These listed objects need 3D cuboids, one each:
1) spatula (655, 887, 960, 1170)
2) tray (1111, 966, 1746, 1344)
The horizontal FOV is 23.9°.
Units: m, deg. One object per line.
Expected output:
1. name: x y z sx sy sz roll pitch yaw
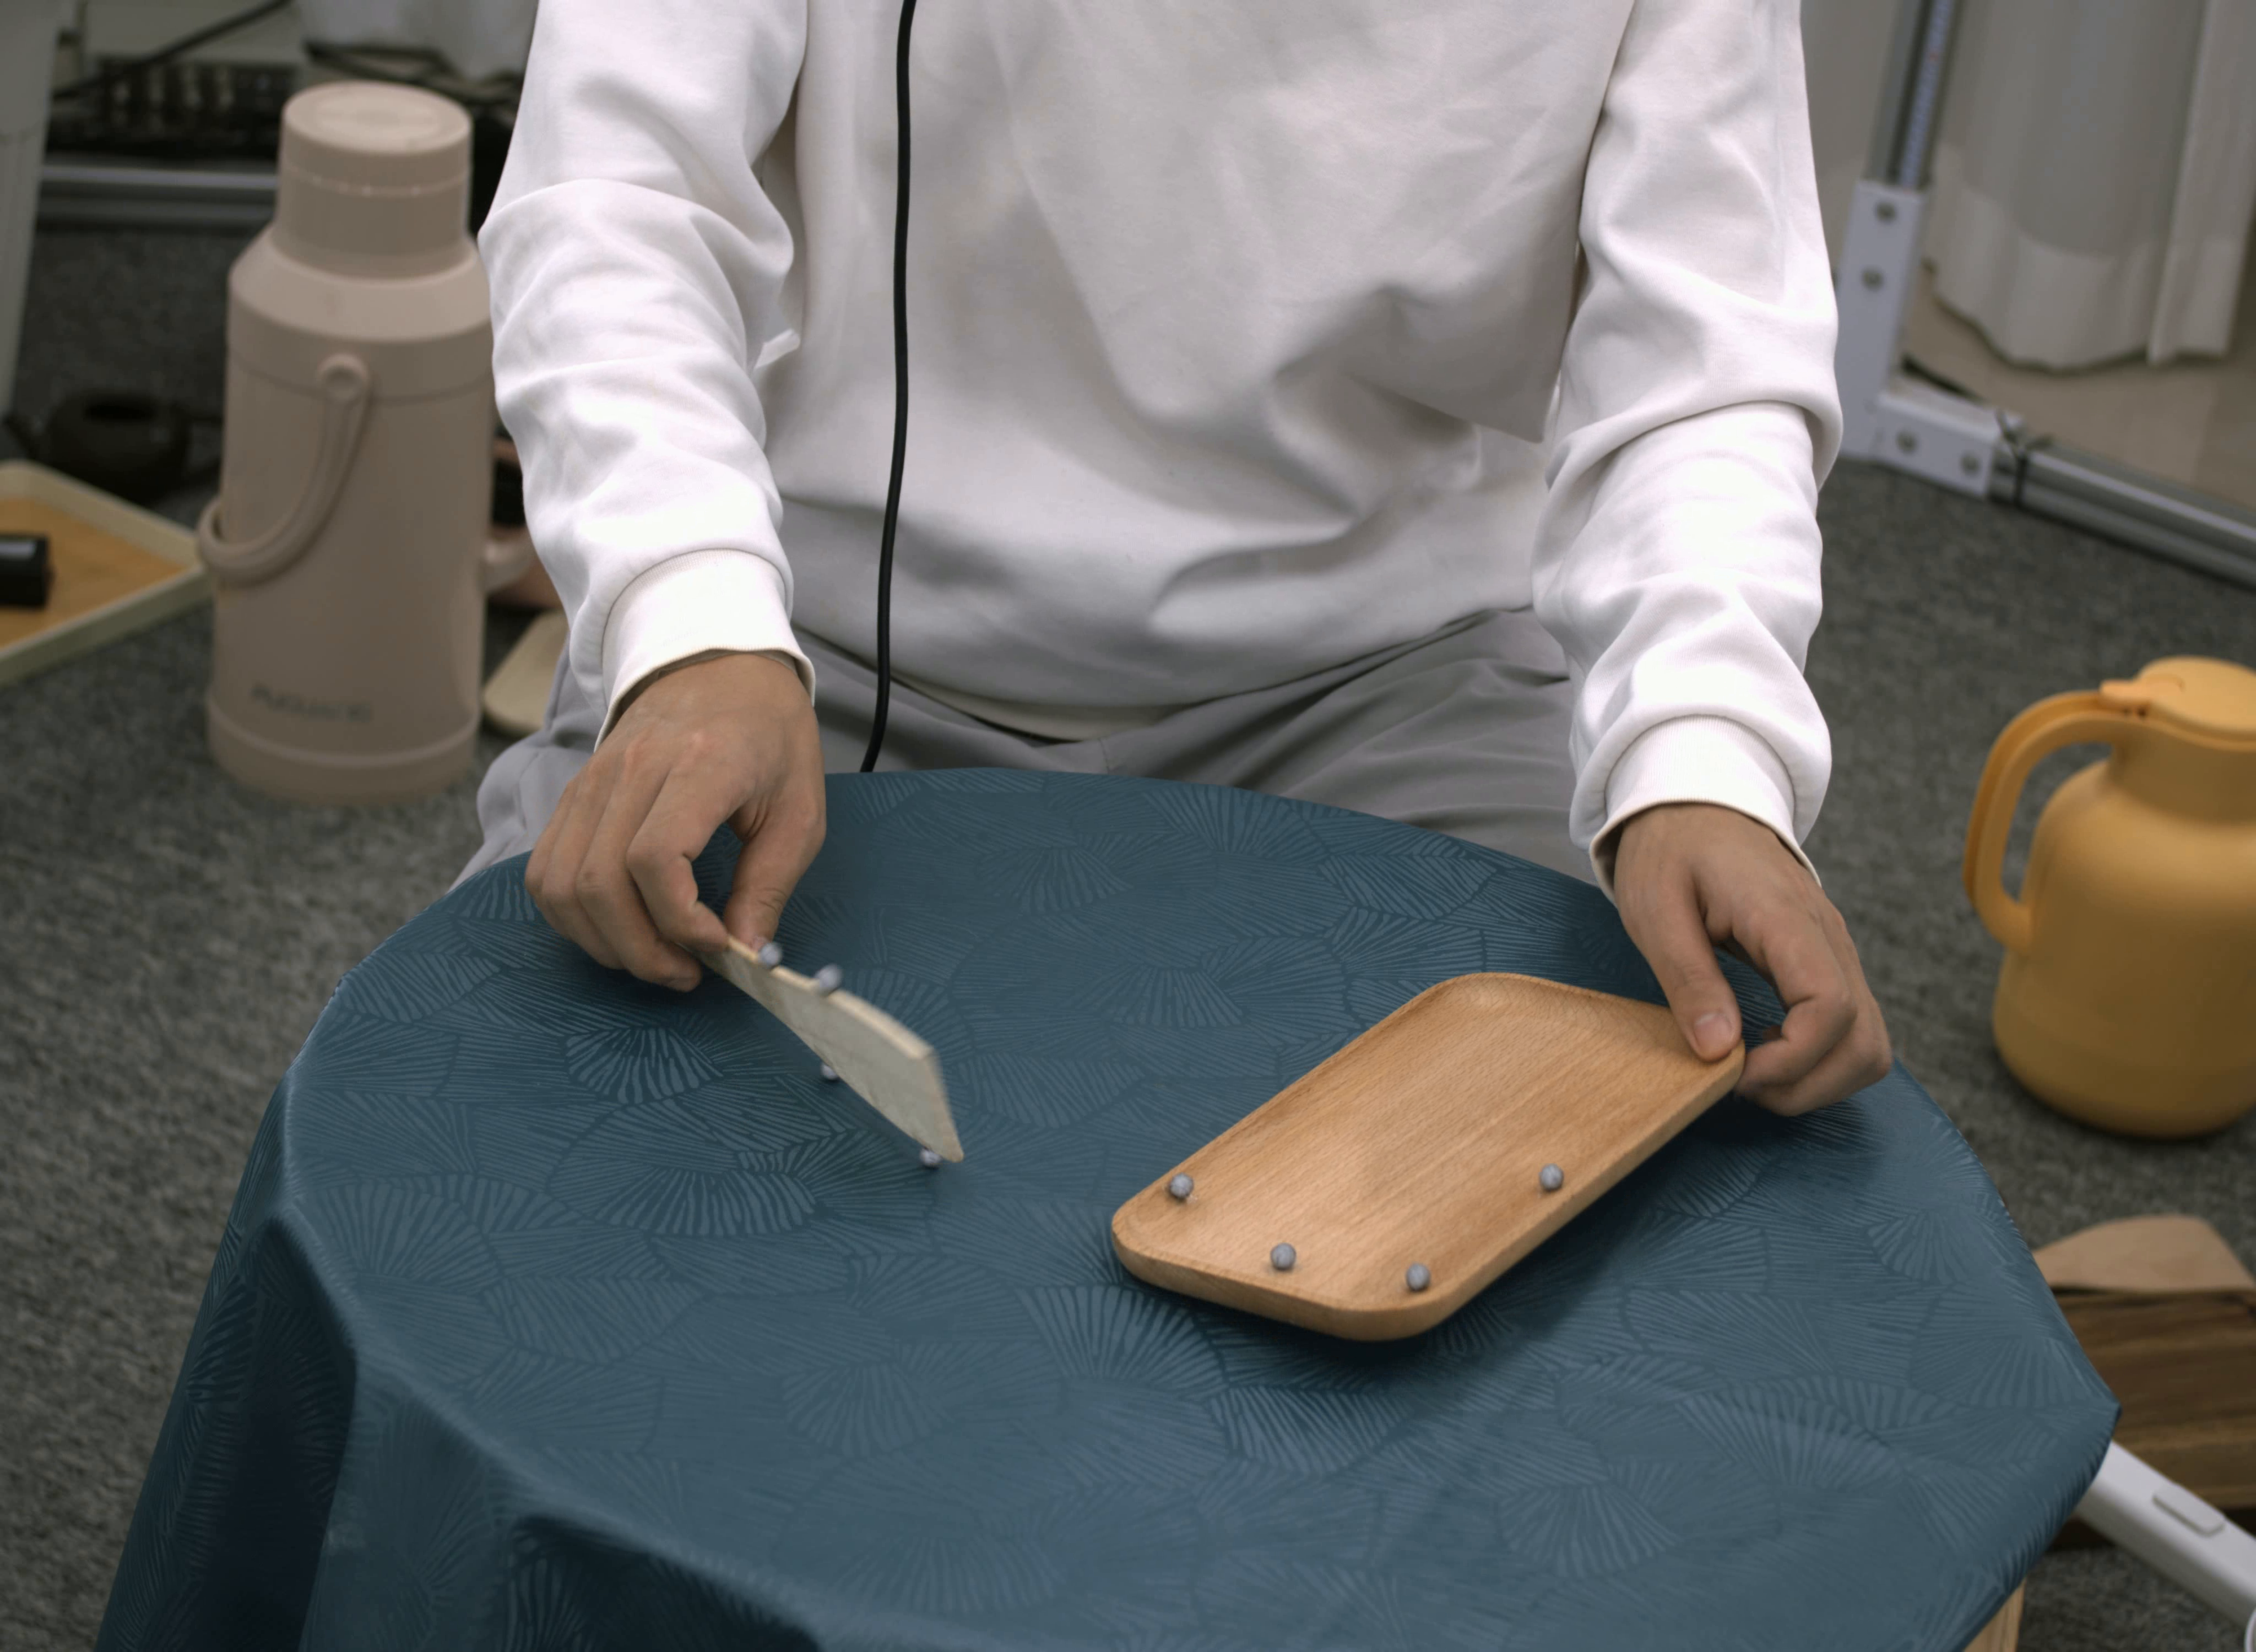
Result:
1. spatula: -0.116 0.064 1.851 0.005 0.050 0.209 -34 34 -16
2. tray: 0.106 0.110 1.816 0.131 0.023 0.250 17 29 31
